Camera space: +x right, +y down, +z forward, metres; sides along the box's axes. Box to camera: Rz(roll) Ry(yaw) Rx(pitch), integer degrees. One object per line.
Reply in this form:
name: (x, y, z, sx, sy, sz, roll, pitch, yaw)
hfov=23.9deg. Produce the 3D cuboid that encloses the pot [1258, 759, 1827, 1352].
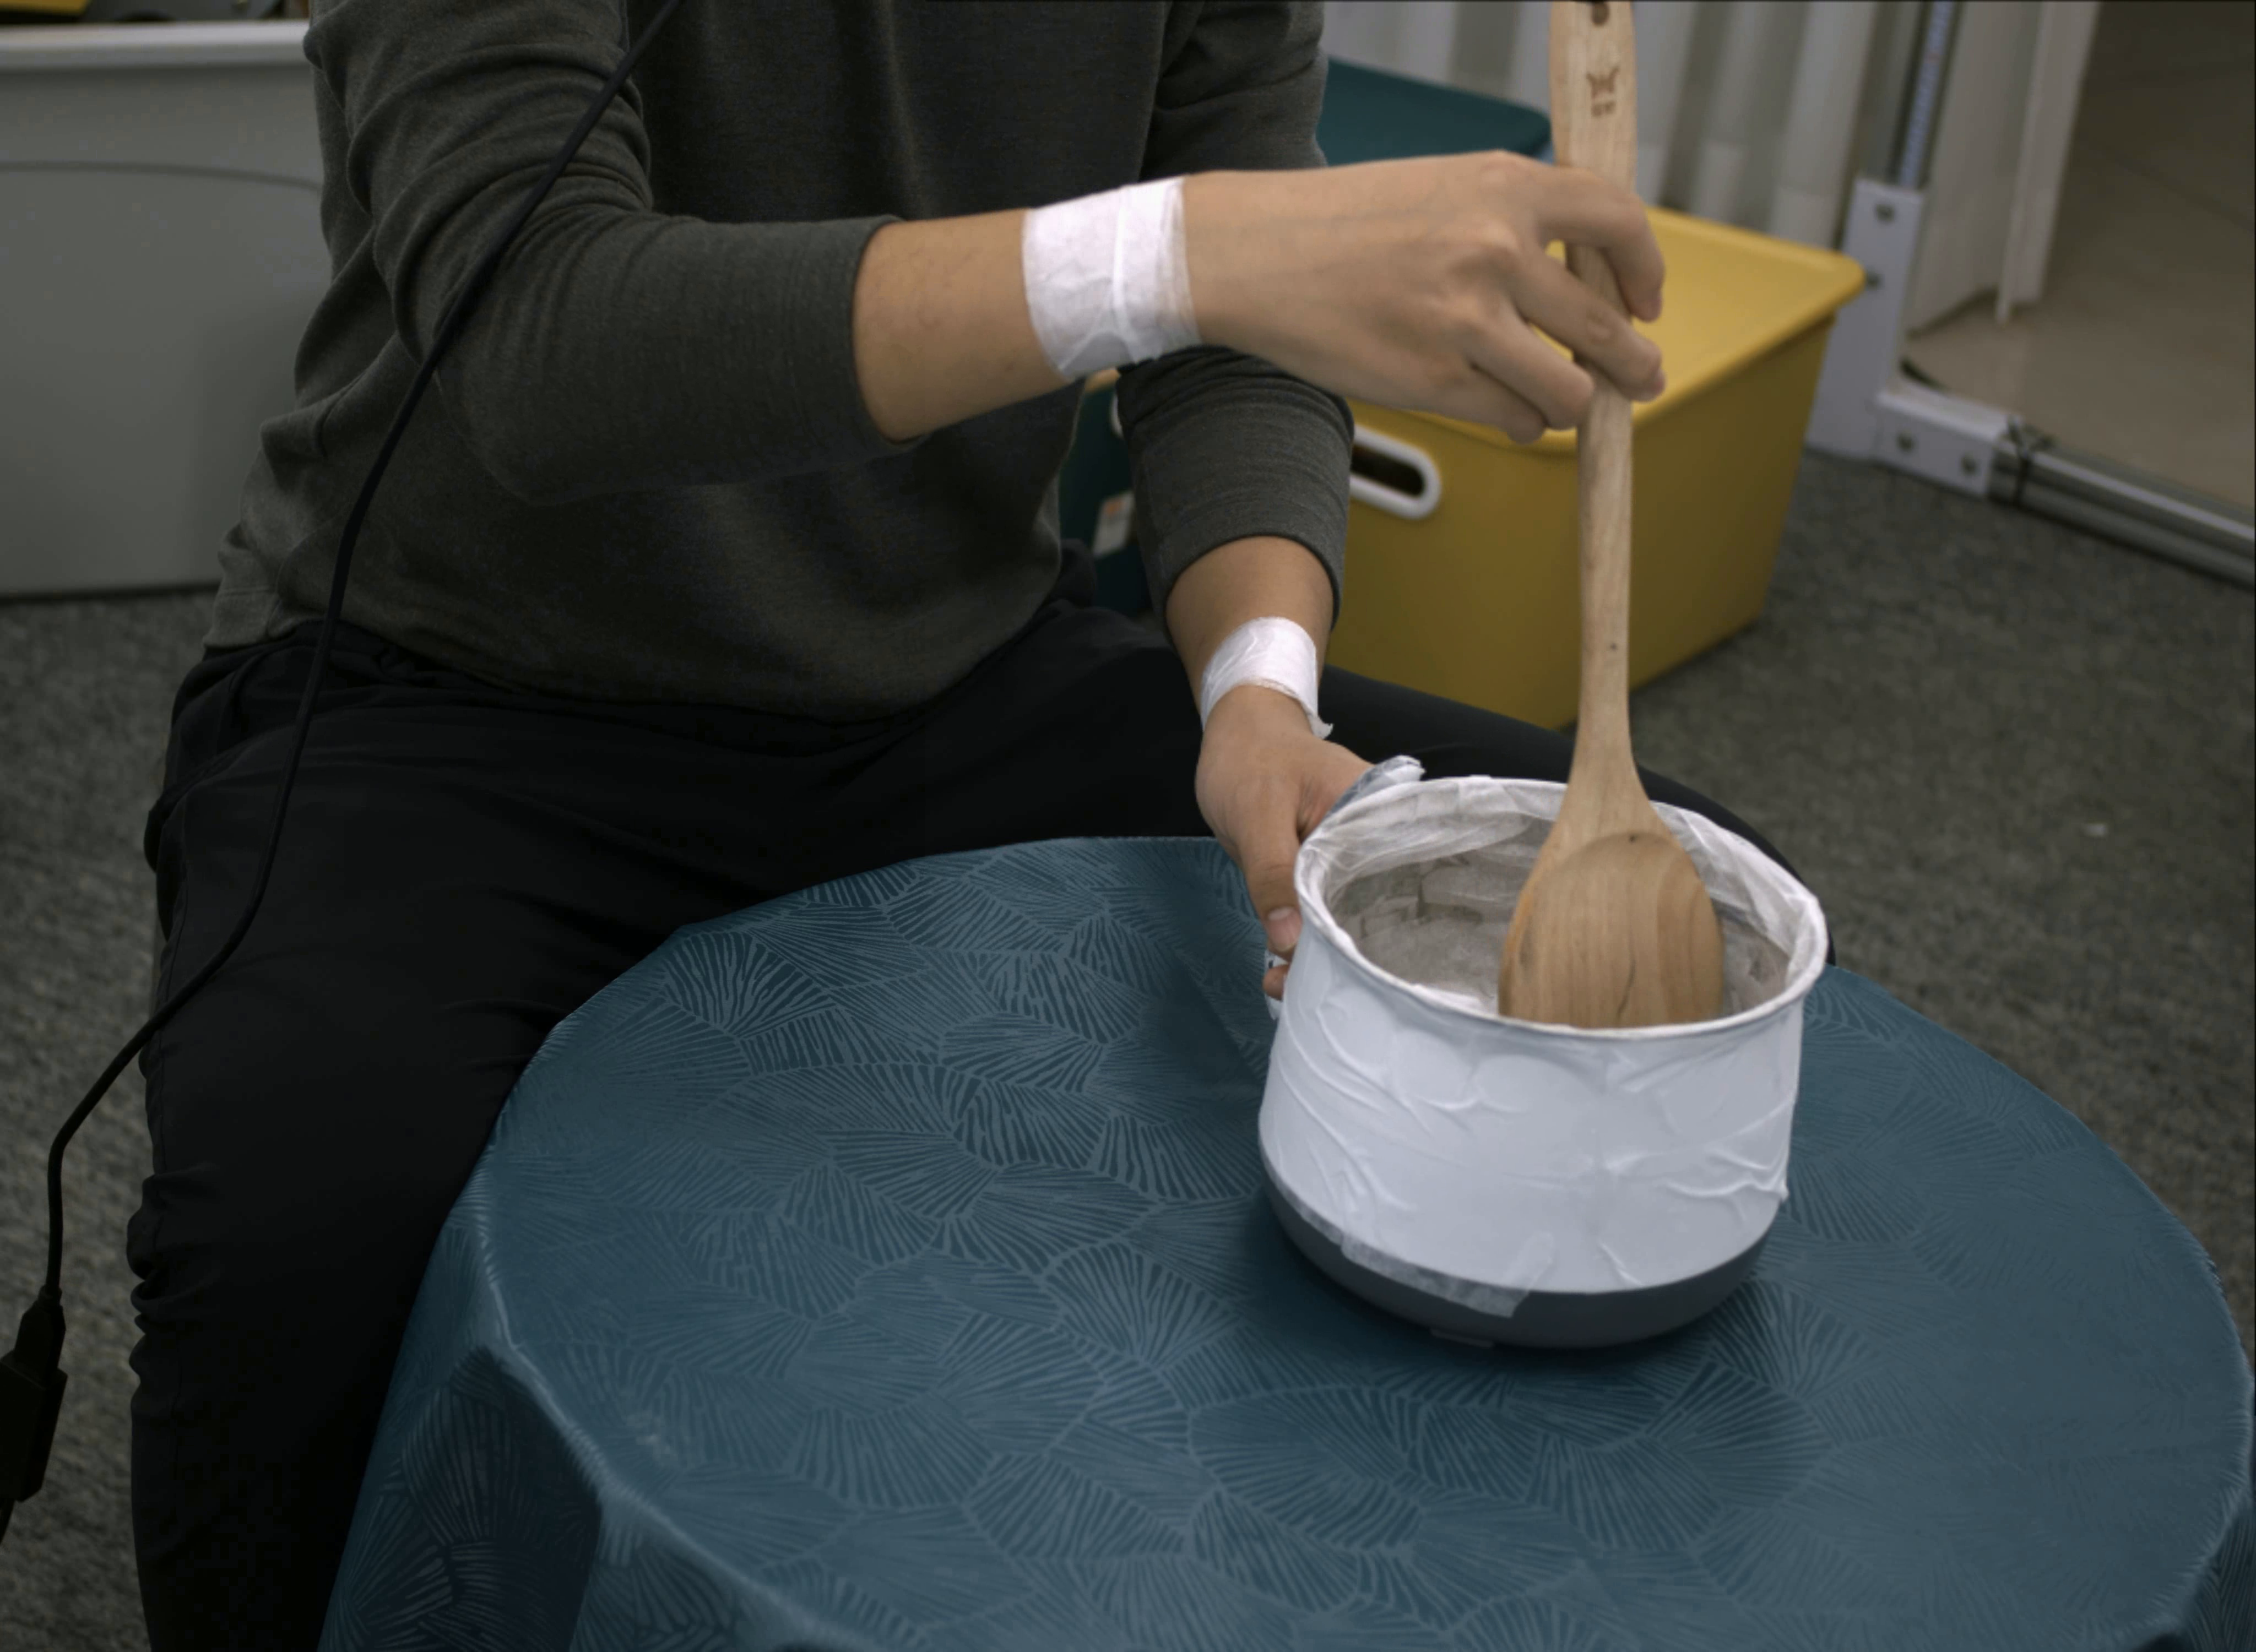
pot: (0.121, 0.070, 1.792, 0.177, 0.136, 0.236, -10, 30, -29)

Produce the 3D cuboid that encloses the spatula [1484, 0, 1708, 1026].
spatula: (0.146, -0.093, 1.715, 0.095, 0.390, 0.018, -18, 25, -34)
